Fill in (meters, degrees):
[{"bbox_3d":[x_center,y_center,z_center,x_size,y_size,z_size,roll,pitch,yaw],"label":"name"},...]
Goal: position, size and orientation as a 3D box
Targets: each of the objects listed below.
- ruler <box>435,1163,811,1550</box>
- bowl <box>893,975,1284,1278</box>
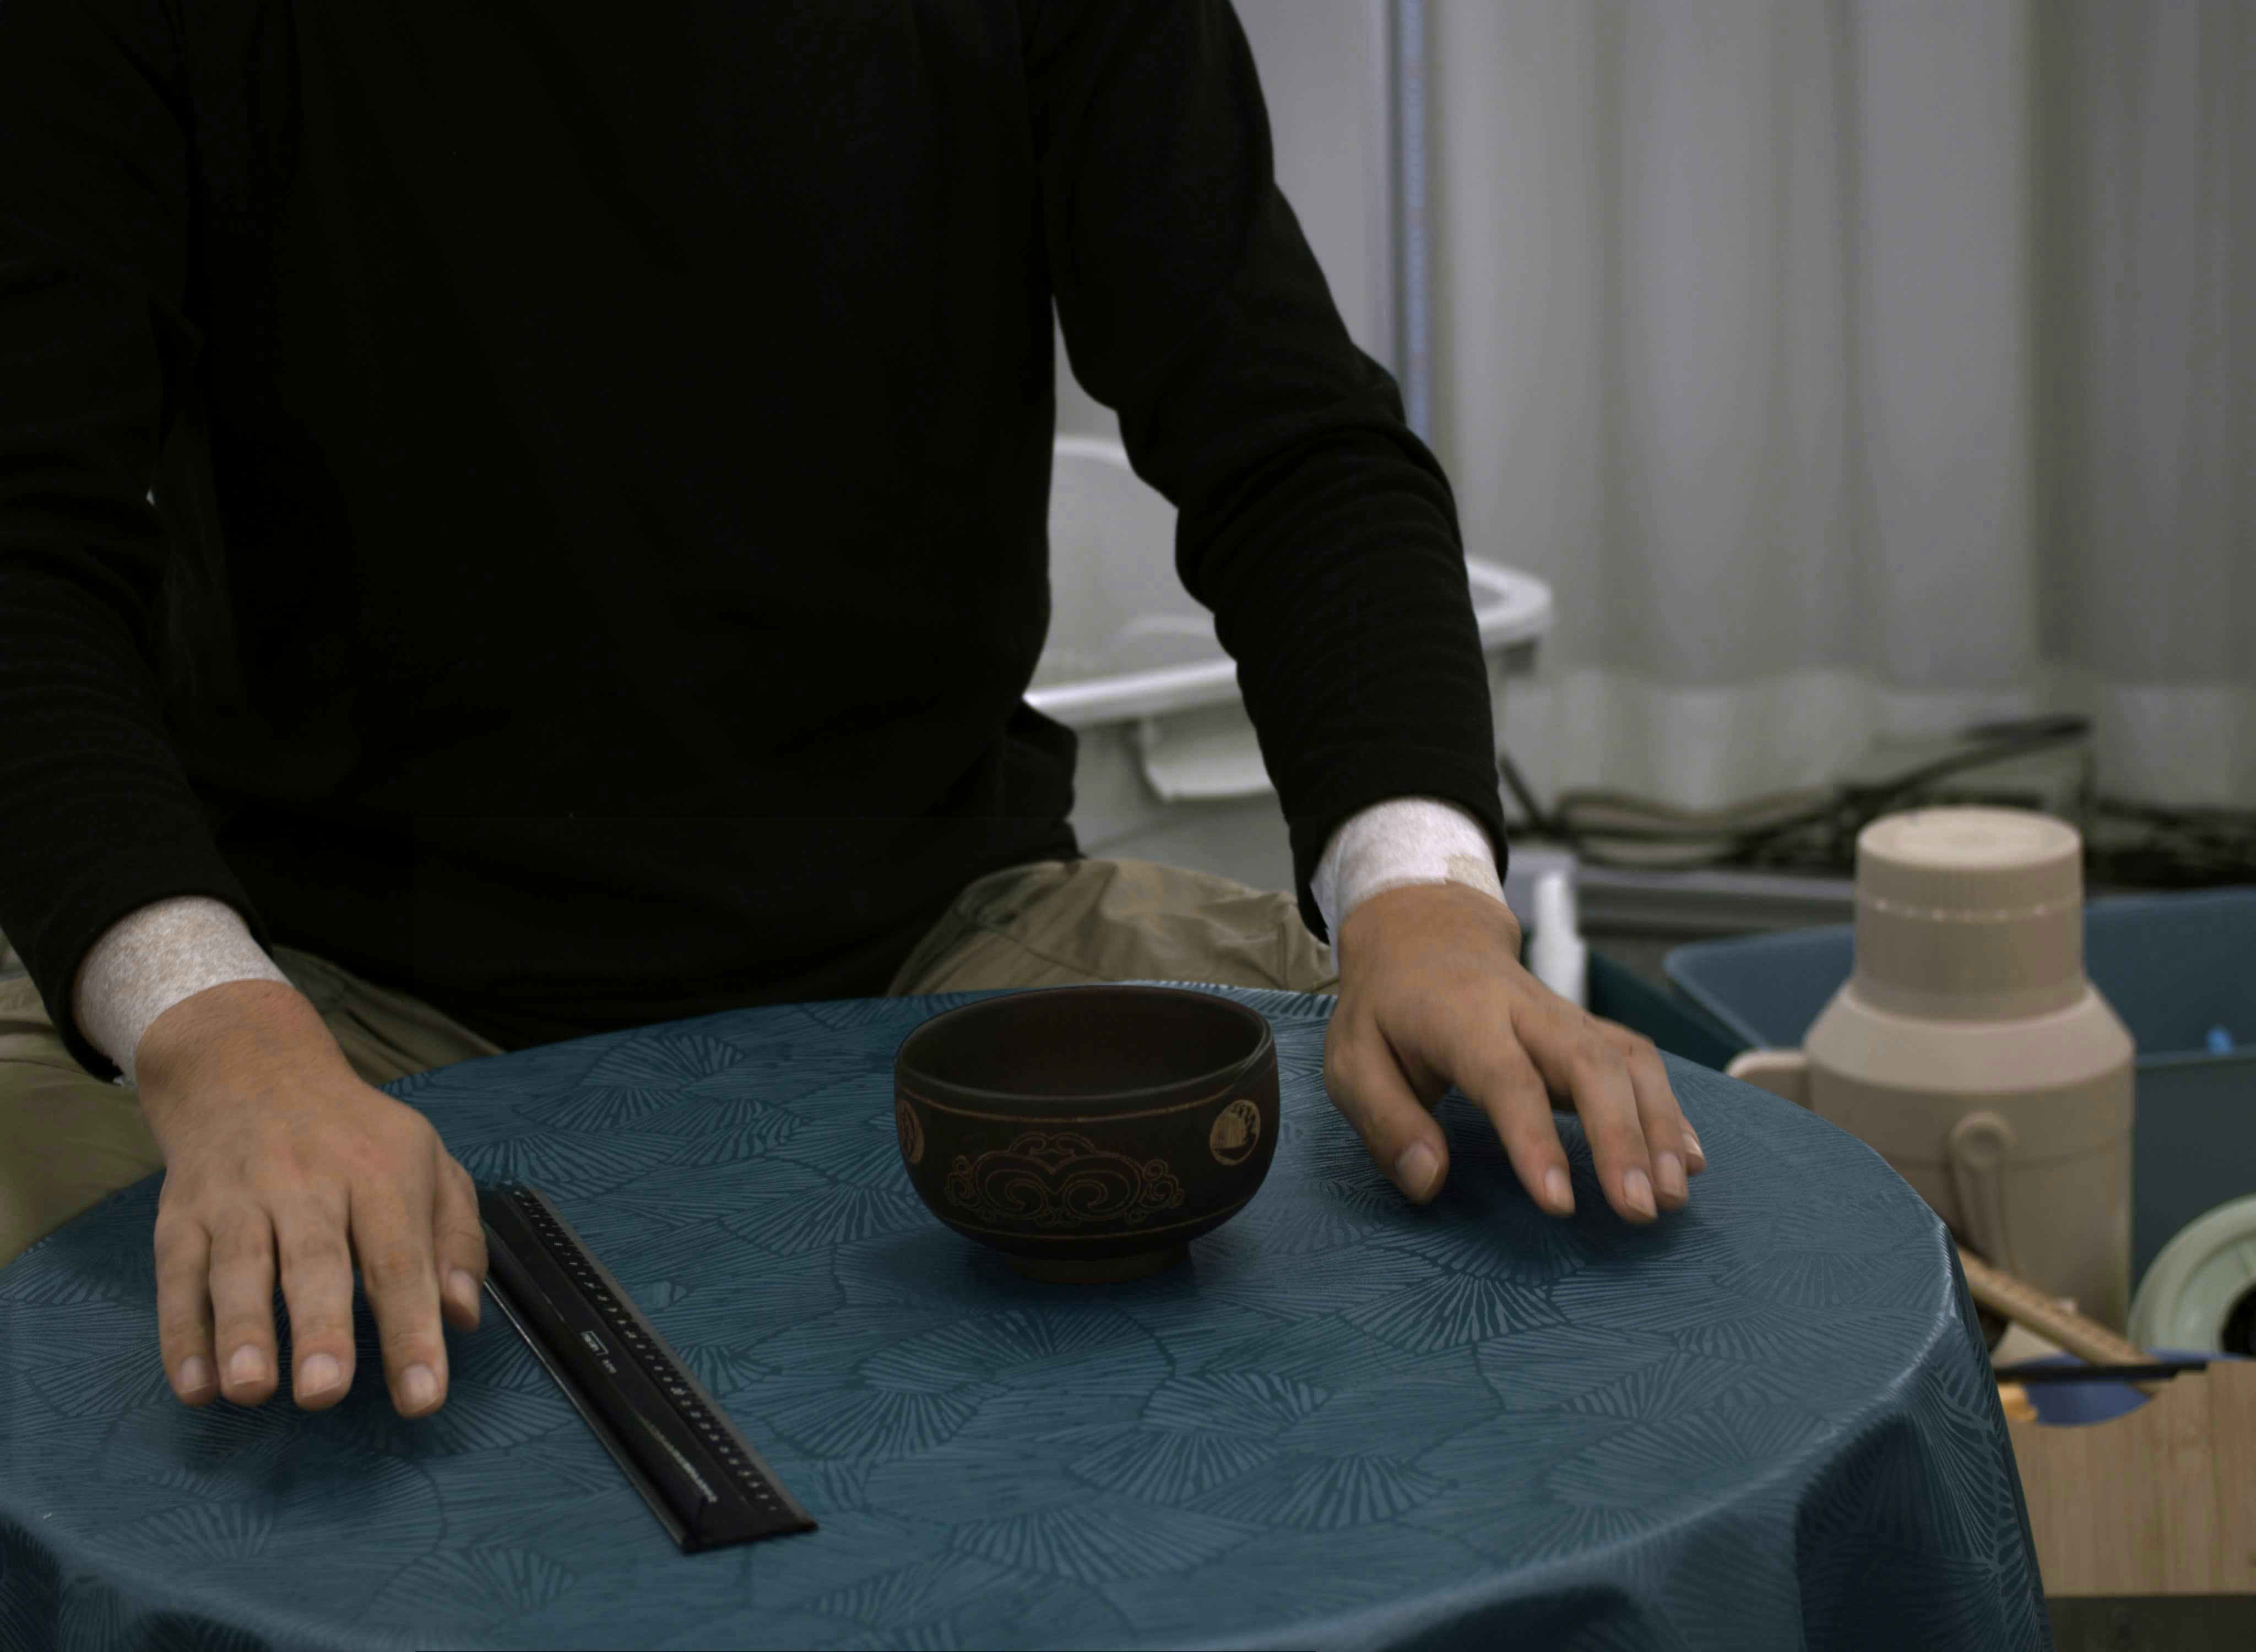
[{"bbox_3d":[-0.151,0.147,1.589,0.039,0.017,0.315,-3,14,-19],"label":"ruler"},{"bbox_3d":[-0.011,0.094,1.650,0.117,0.069,0.119,-2,15,0],"label":"bowl"}]
